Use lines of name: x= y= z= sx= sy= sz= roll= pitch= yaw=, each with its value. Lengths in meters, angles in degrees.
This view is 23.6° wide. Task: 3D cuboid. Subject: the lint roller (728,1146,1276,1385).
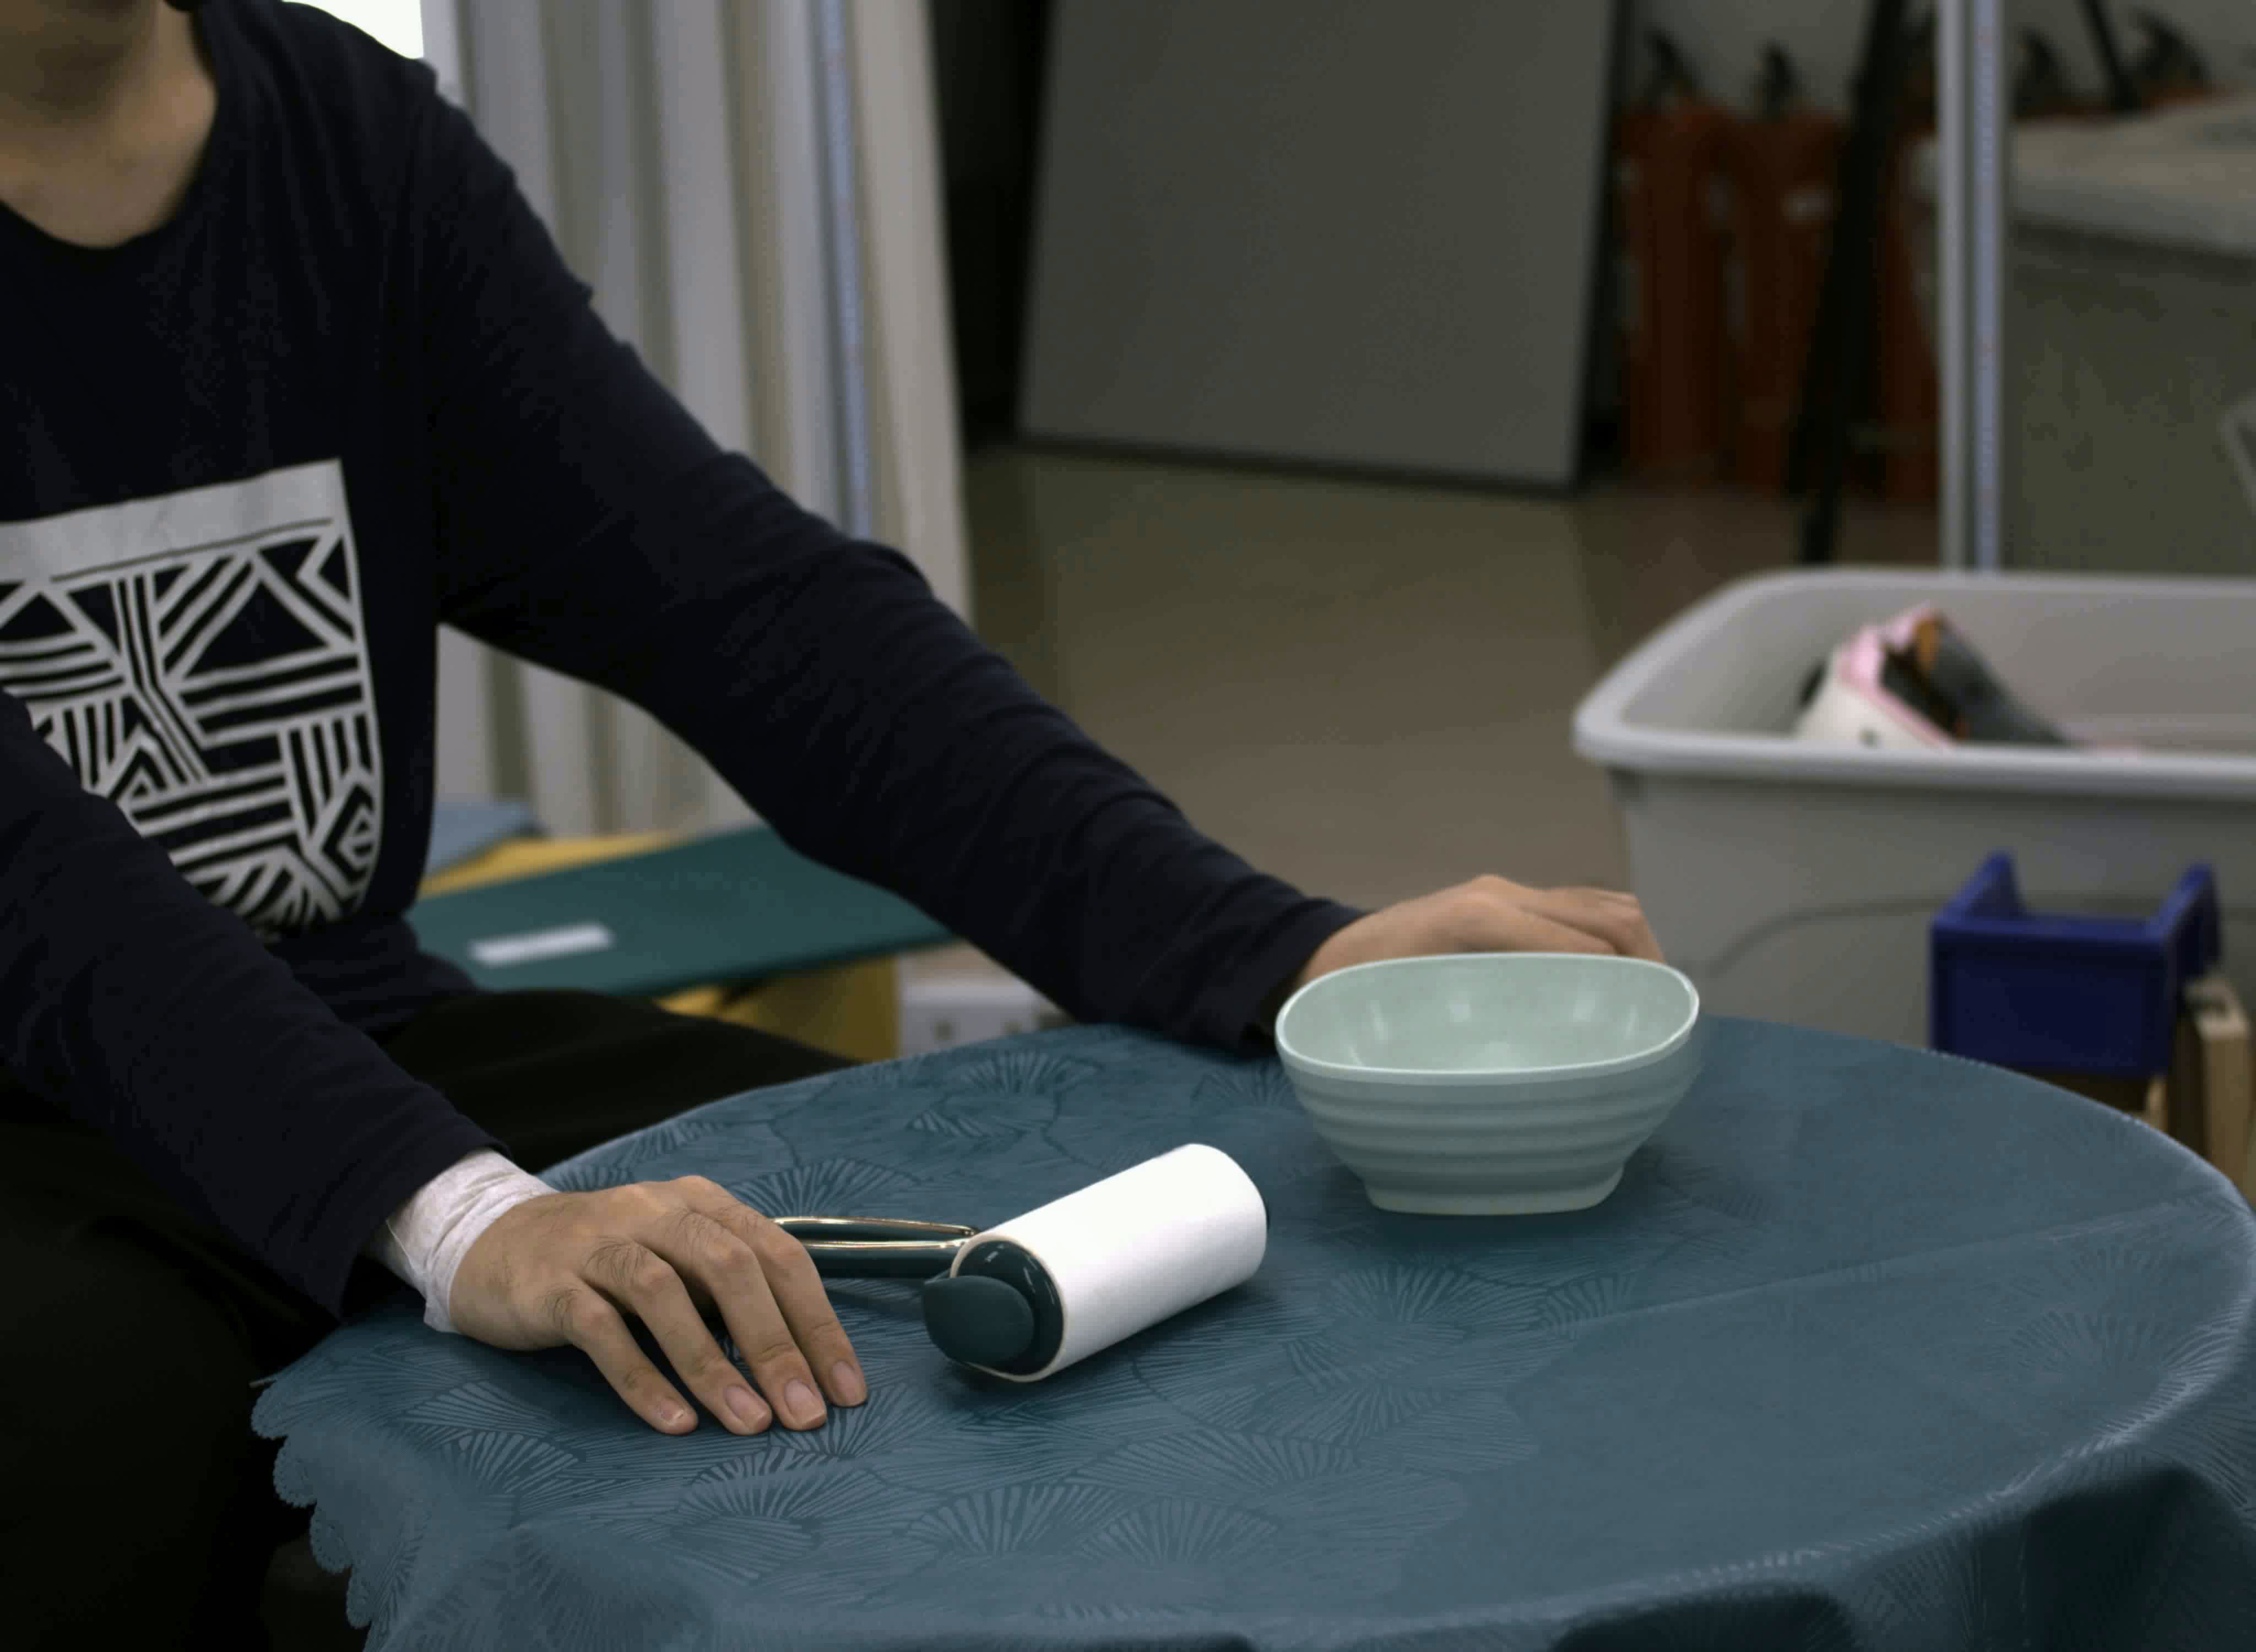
lint roller: x=-0.057 y=0.130 z=1.674 sx=0.181 sy=0.049 sz=0.132 roll=3 pitch=15 yaw=39

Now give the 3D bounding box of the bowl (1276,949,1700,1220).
bowl: x=0.118 y=0.087 z=1.758 sx=0.149 sy=0.059 sz=0.152 roll=-2 pitch=15 yaw=0
